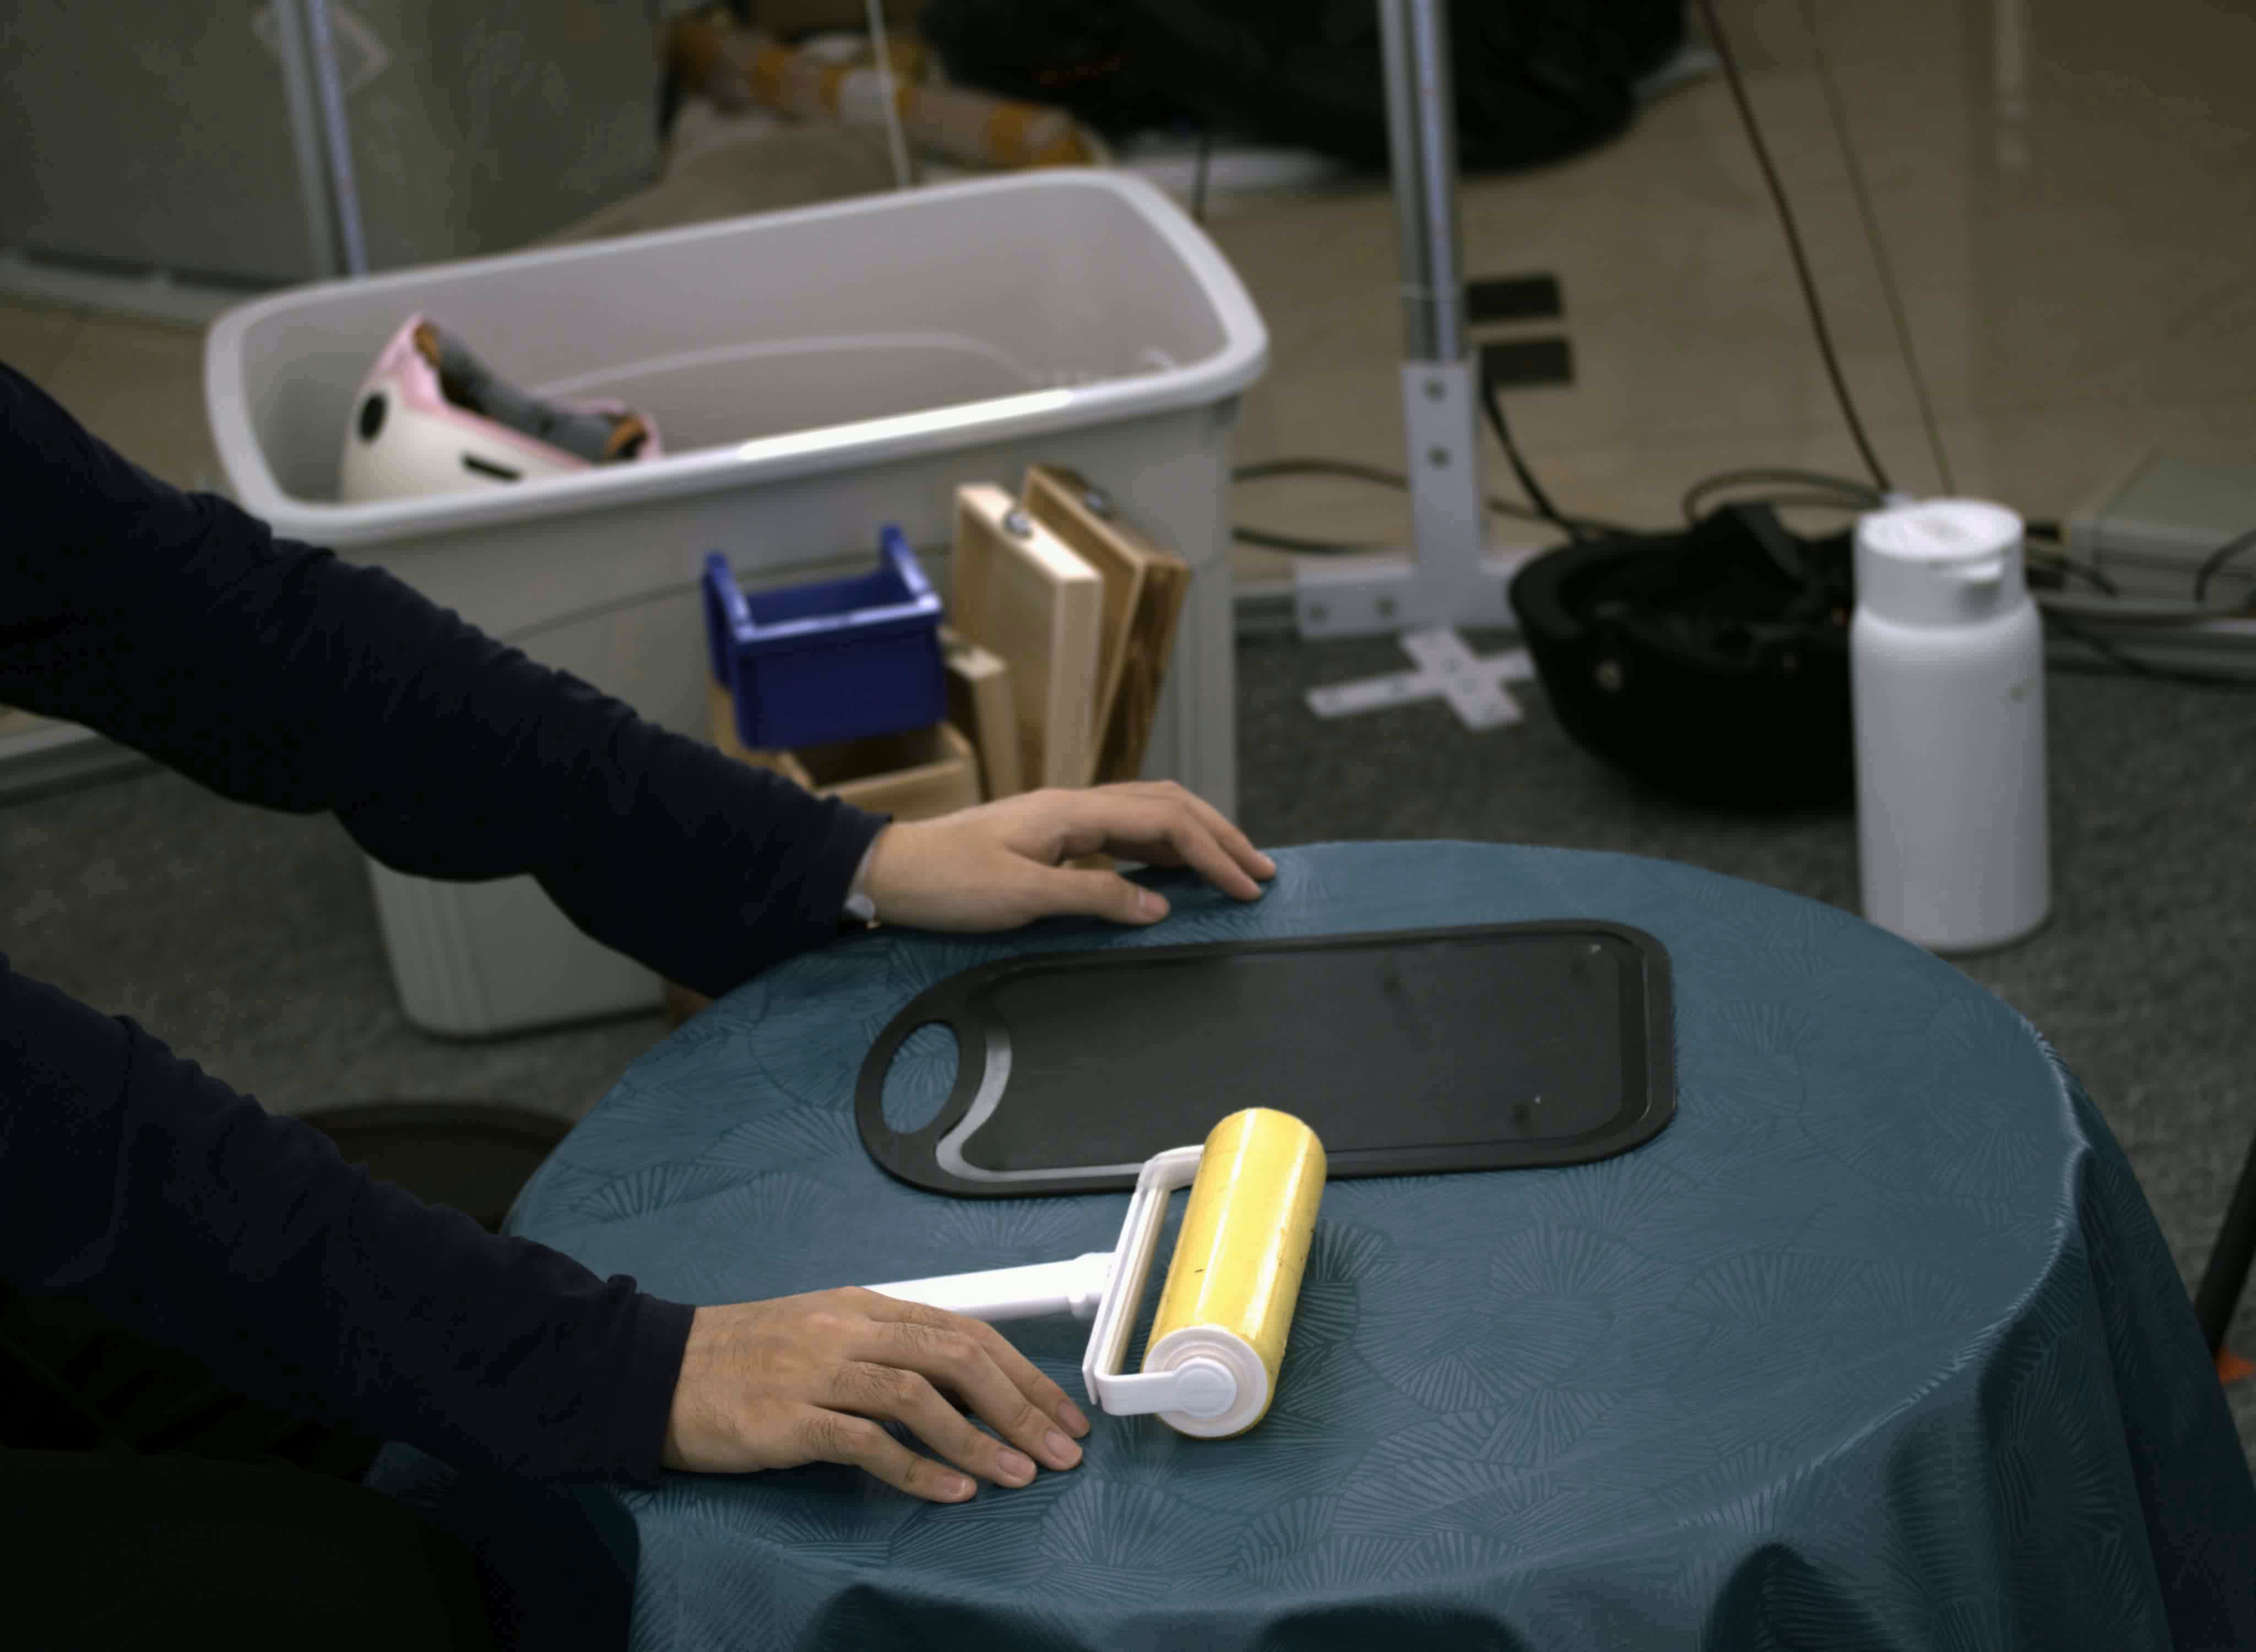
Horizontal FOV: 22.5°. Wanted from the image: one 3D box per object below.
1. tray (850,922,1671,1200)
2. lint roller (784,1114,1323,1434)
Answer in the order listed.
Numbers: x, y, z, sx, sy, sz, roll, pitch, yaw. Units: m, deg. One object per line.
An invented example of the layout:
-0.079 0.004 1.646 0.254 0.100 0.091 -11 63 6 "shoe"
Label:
0.051 0.090 2.236 0.325 0.010 0.208 -4 24 7 "tray"
-0.032 0.162 2.051 0.191 0.052 0.172 0 24 8 "lint roller"
